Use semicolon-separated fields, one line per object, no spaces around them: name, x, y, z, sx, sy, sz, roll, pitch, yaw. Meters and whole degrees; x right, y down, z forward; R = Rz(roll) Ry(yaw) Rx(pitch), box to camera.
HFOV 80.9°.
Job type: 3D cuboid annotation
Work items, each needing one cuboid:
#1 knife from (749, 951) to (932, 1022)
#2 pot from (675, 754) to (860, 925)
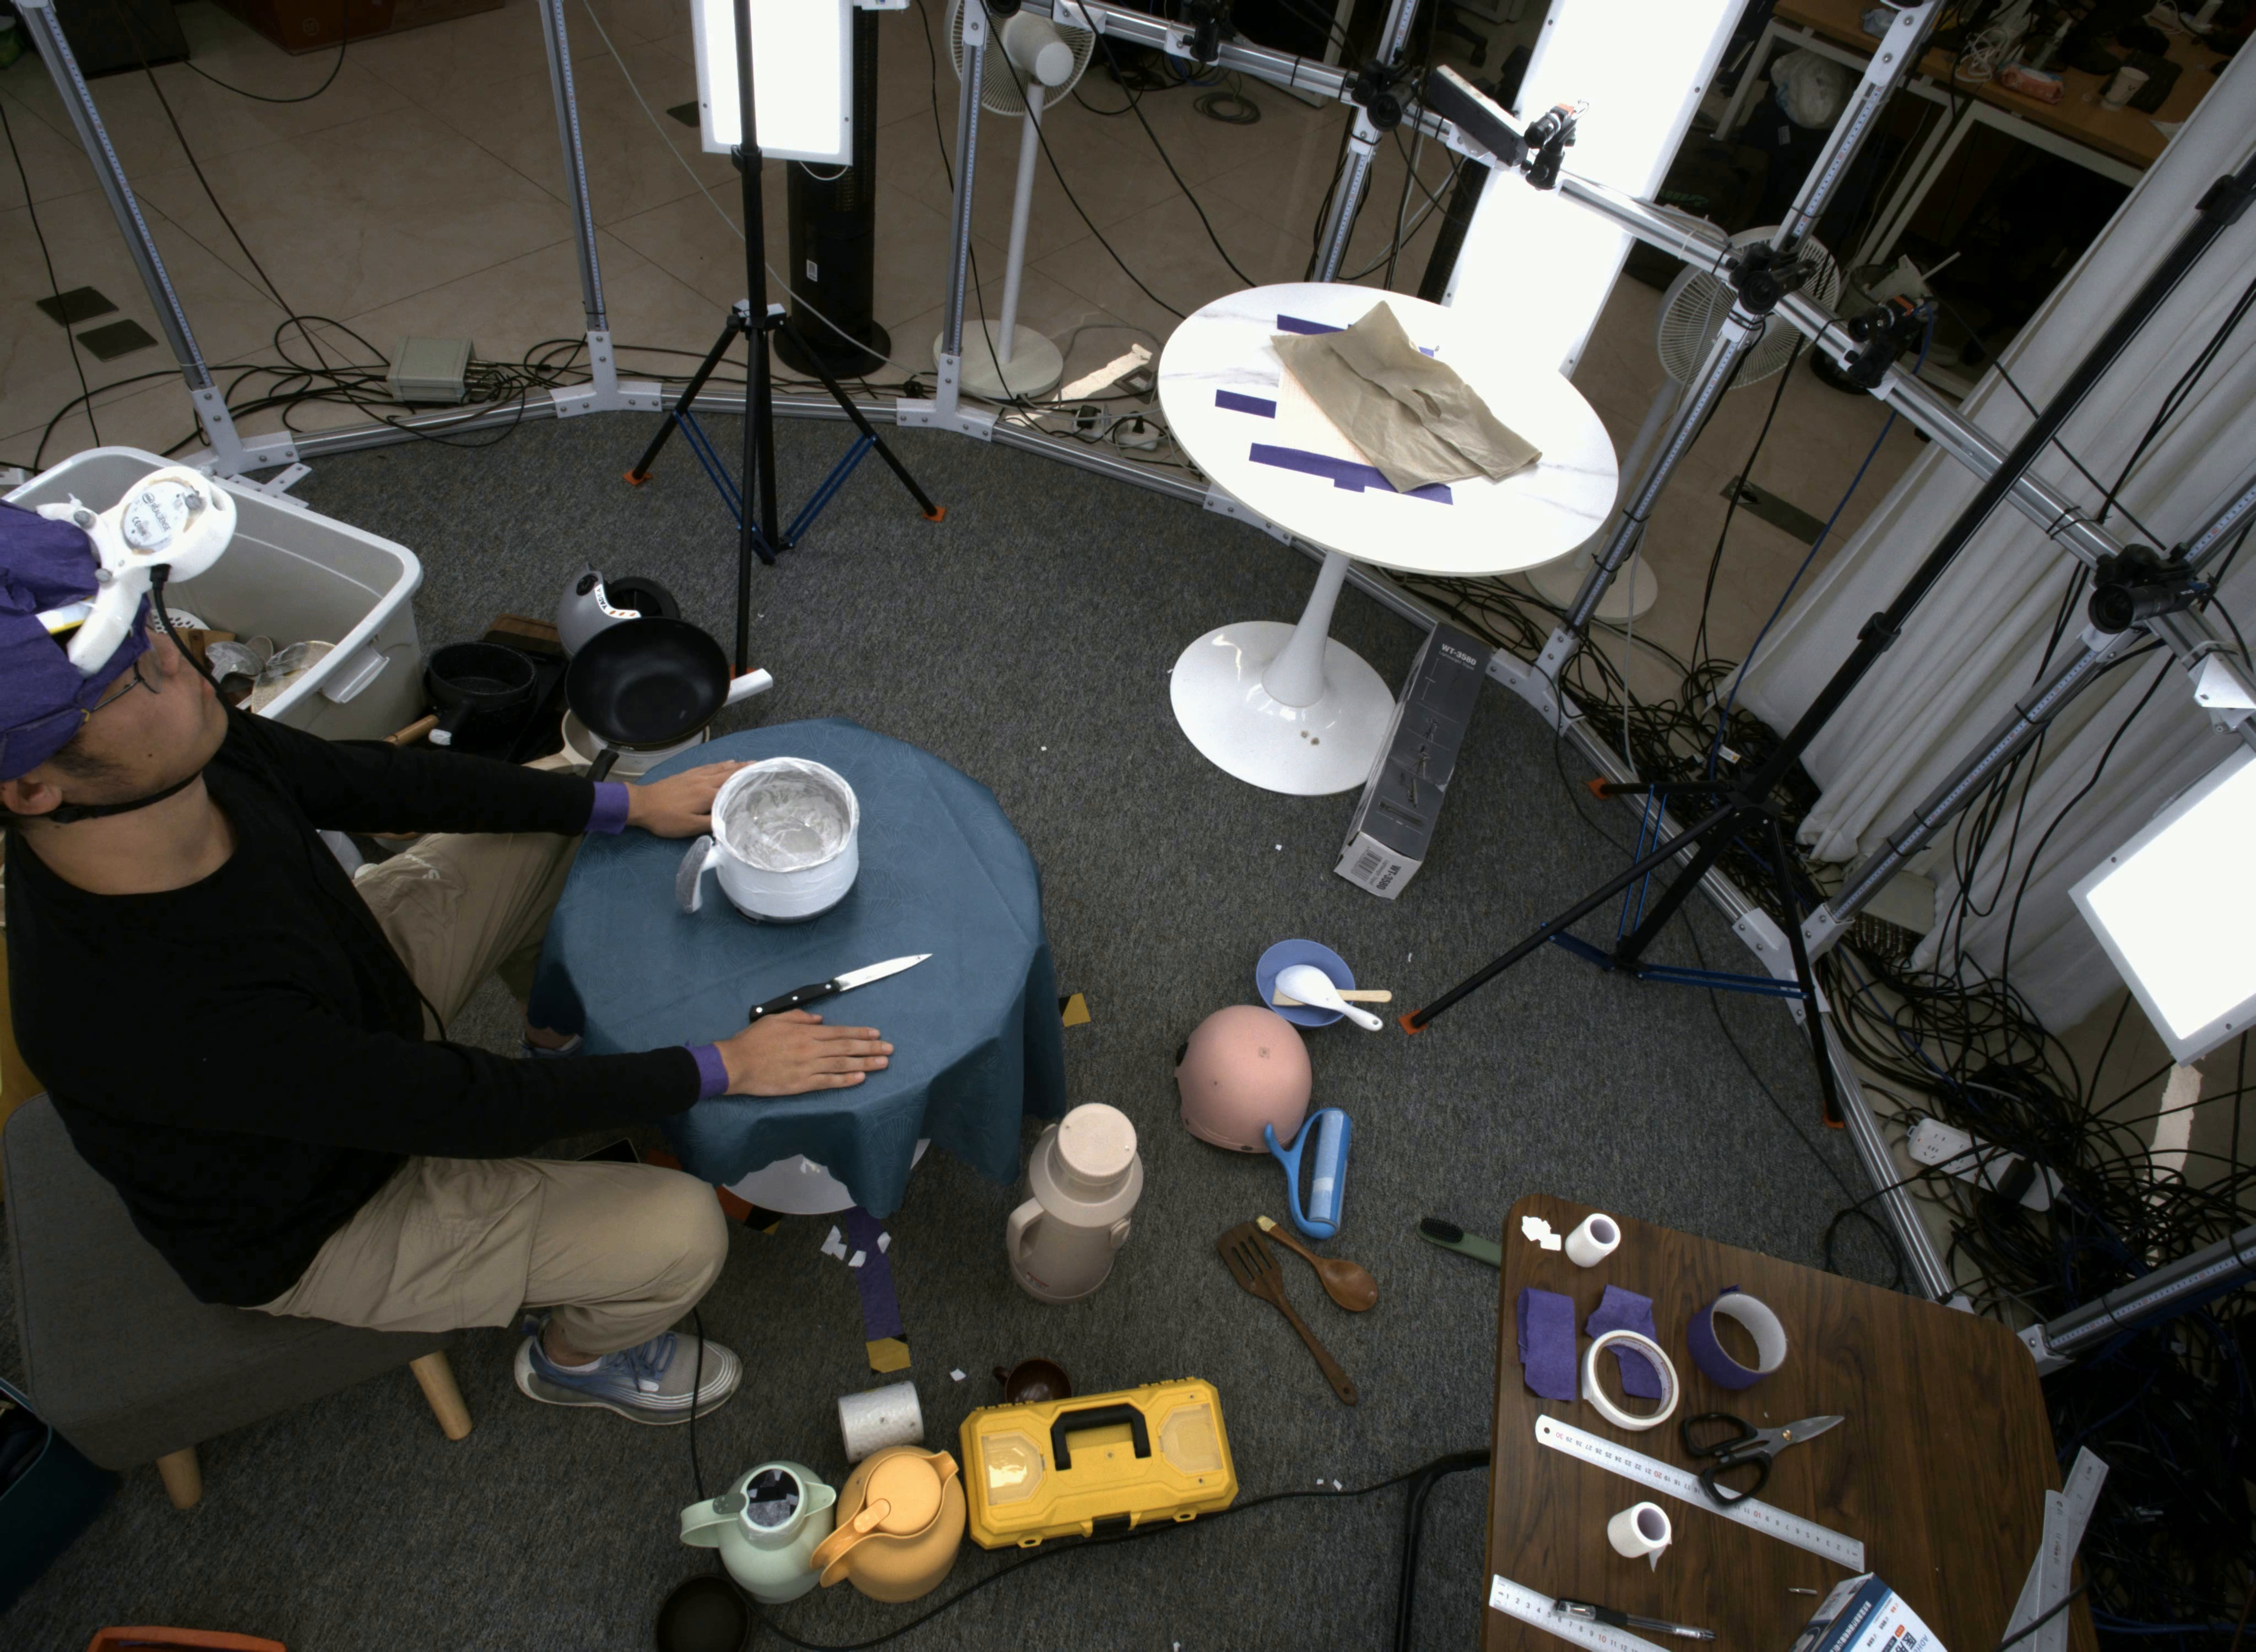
knife;-0.347;0.192;1.591;0.240;0.016;0.024;-18;56;-29
pot;-0.448;0.028;1.602;0.235;0.139;0.174;-23;60;-29
